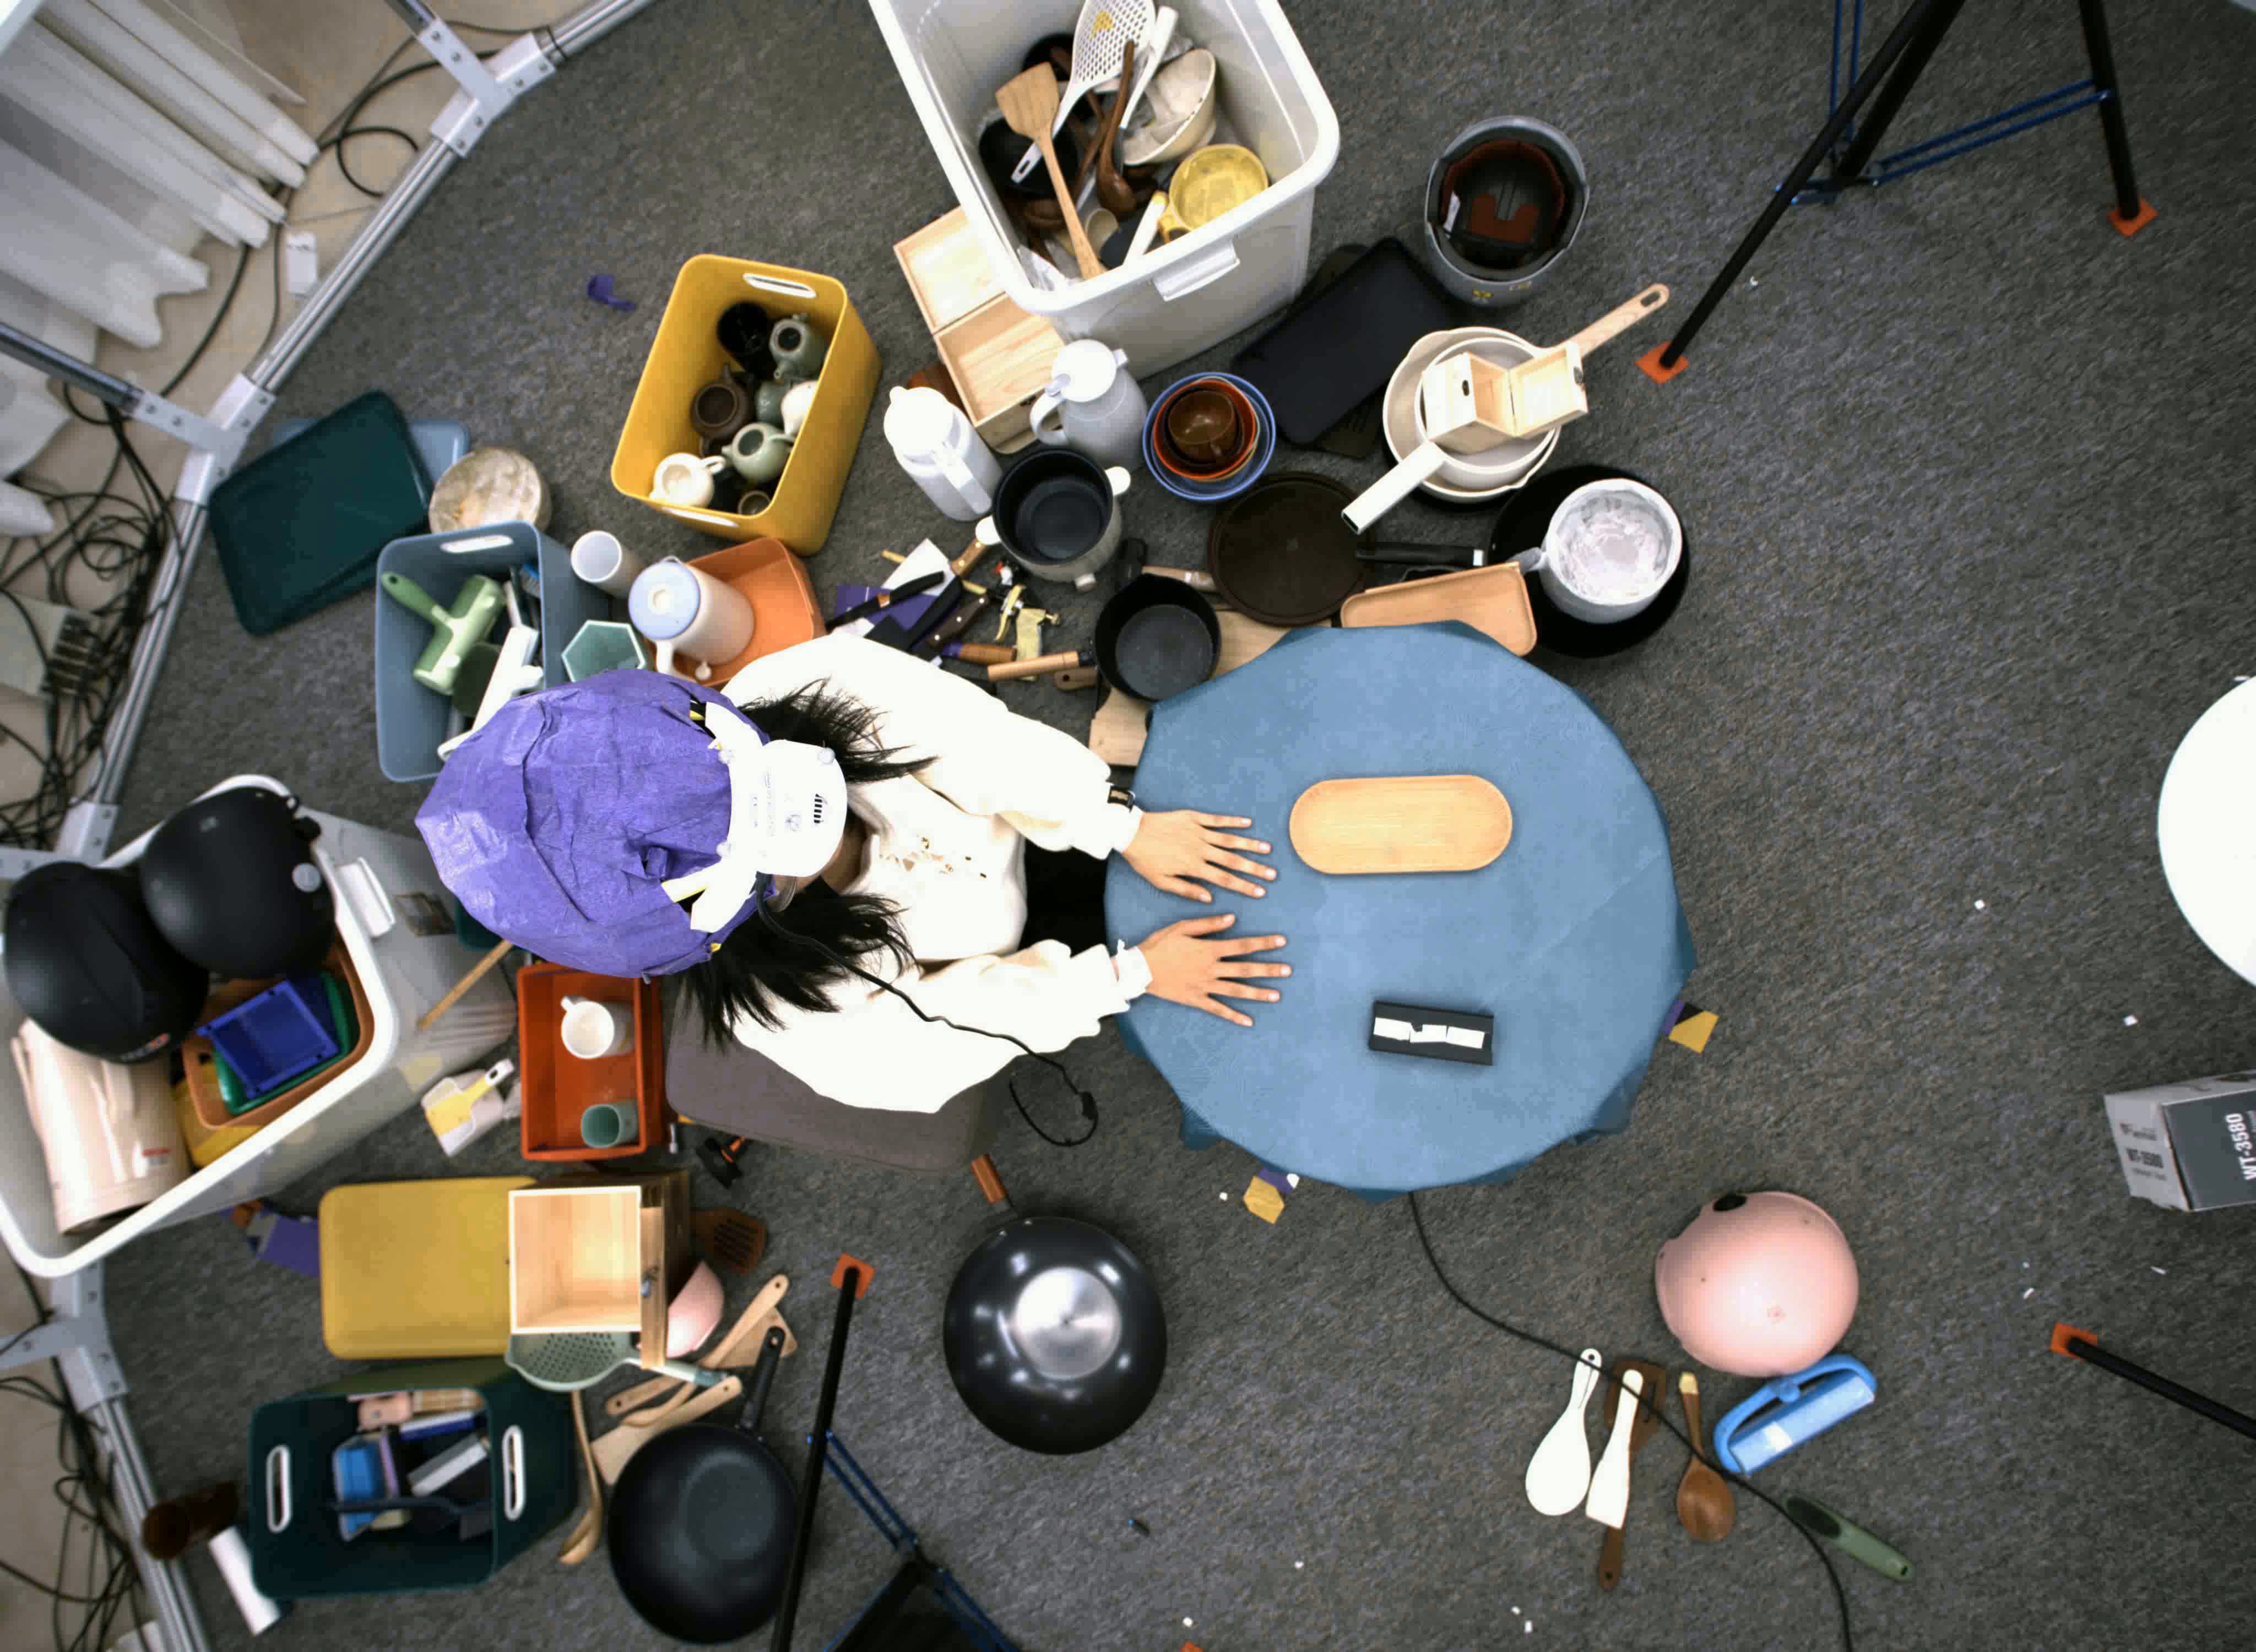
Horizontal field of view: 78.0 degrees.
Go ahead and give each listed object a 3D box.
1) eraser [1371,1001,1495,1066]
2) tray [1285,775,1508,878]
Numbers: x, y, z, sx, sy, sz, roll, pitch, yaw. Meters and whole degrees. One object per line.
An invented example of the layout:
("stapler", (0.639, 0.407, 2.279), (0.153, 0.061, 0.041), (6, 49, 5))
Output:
("eraser", (0.315, 0.213, 1.429), (0.126, 0.030, 0.053), (5, 81, 9))
("tray", (0.282, 0.000, 1.454), (0.232, 0.020, 0.101), (-4, 85, 12))
